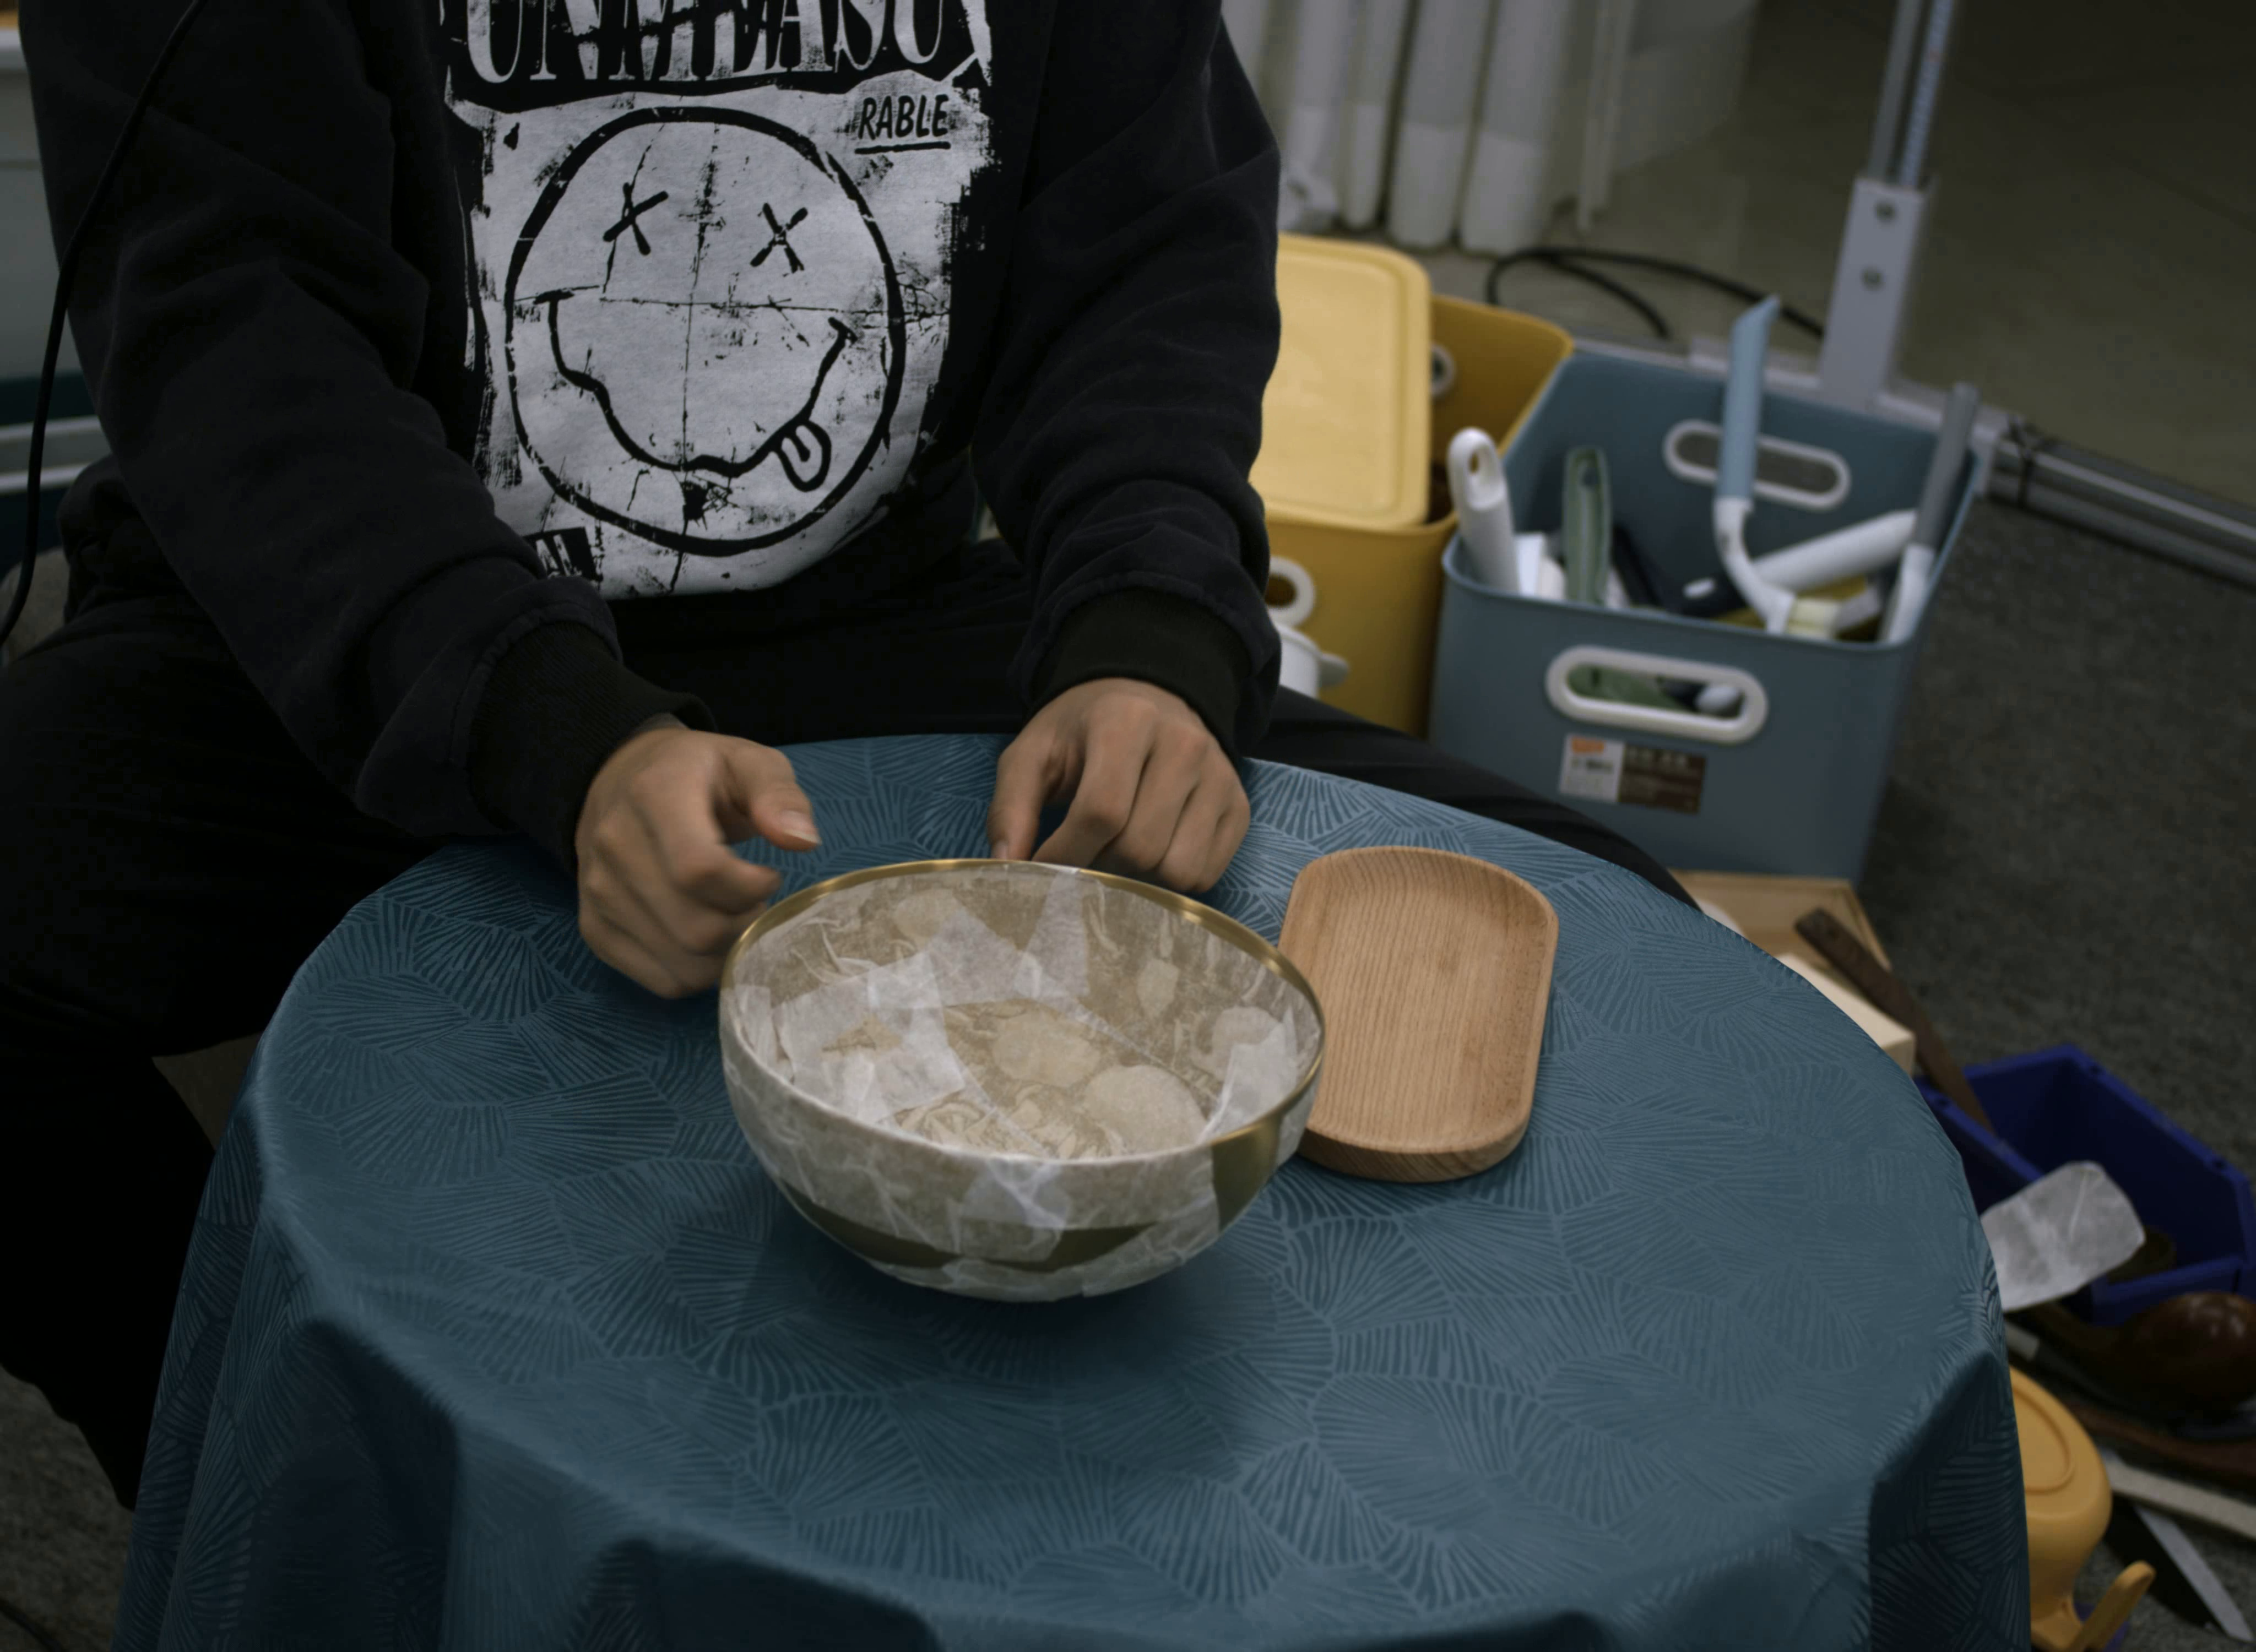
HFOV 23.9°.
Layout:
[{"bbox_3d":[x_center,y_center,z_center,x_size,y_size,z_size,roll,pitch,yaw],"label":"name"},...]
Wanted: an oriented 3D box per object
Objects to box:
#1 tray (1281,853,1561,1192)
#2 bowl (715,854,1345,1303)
[{"bbox_3d":[0.102,0.069,1.916,0.101,0.020,0.232,7,28,5],"label":"tray"},{"bbox_3d":[-0.035,0.094,1.747,0.214,0.094,0.216,4,27,-2],"label":"bowl"}]
